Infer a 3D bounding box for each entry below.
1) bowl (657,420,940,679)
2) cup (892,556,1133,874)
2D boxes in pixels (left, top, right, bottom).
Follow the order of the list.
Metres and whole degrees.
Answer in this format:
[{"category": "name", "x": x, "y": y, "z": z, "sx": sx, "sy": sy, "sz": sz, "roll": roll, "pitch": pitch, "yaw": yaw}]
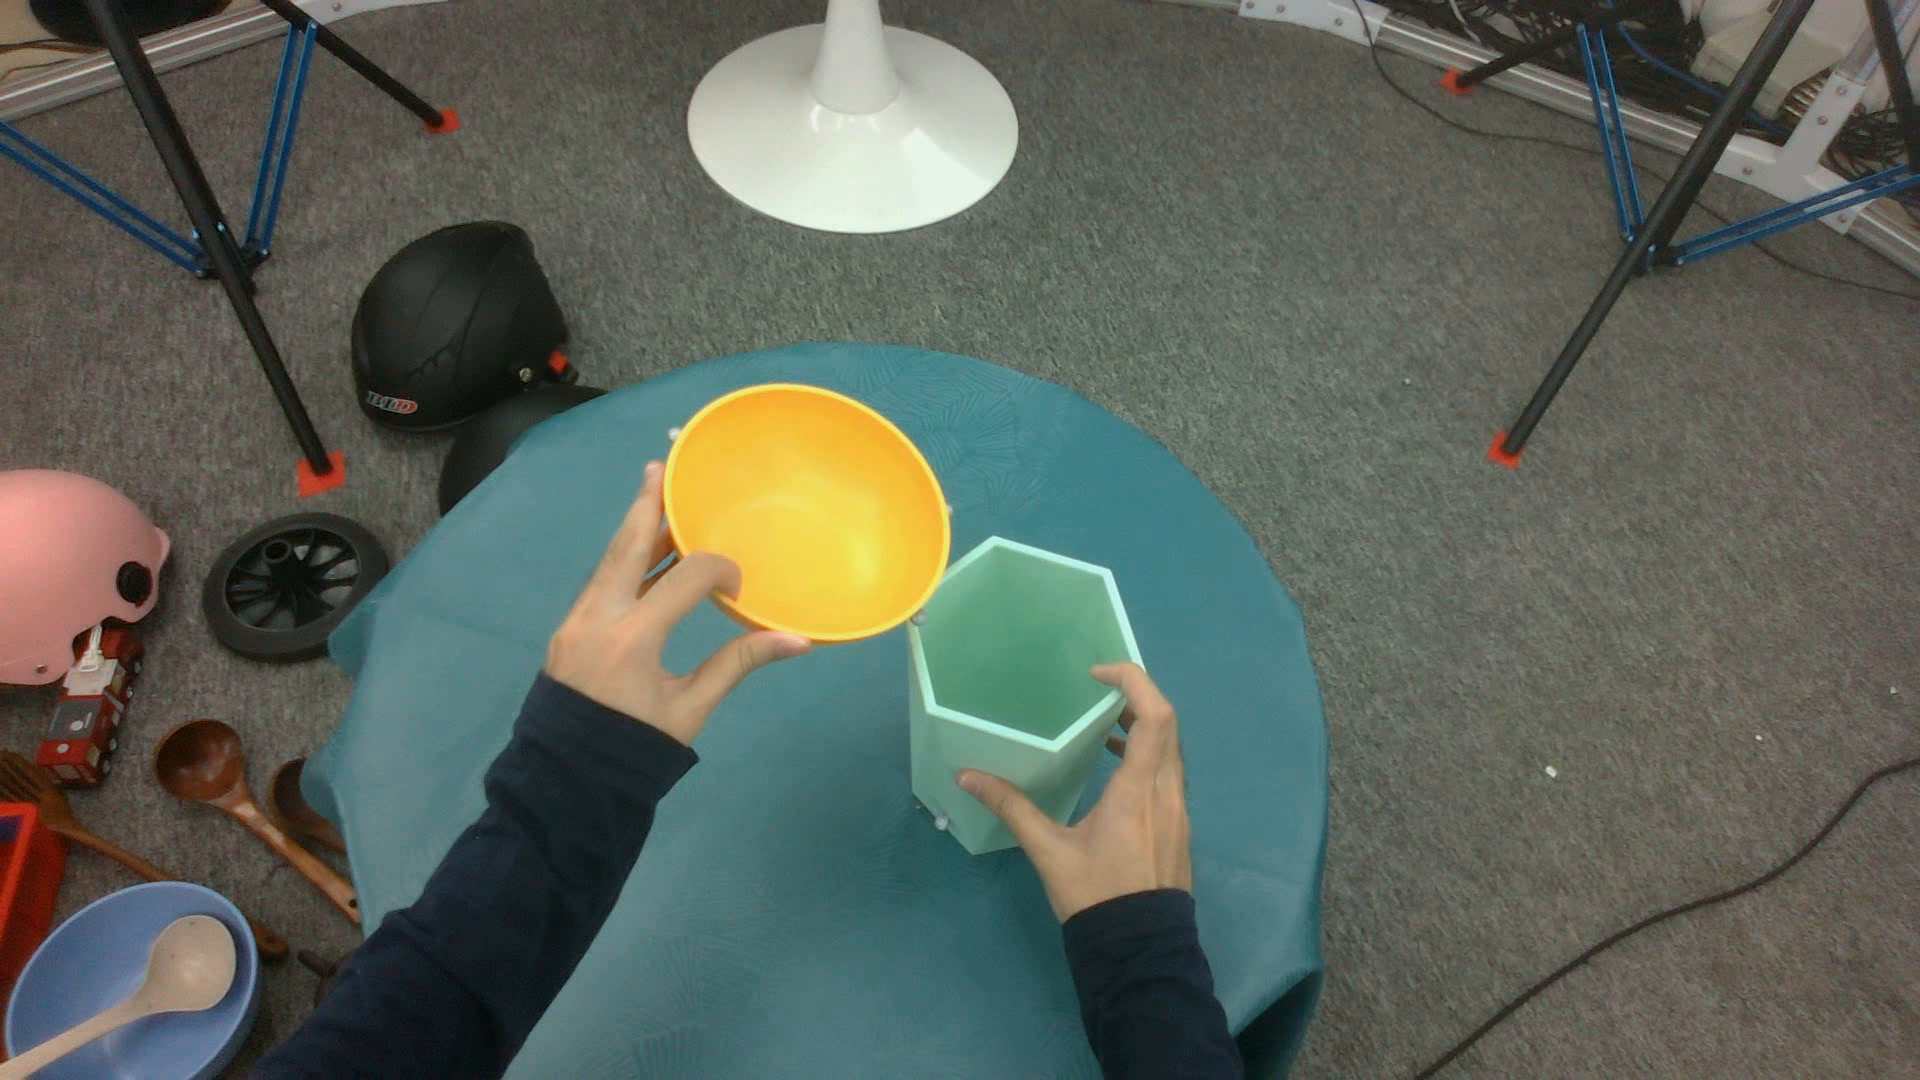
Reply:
[{"category": "bowl", "x": -0.087, "y": 0.014, "z": 0.708, "sx": 0.145, "sy": 0.060, "sz": 0.146, "roll": 11, "pitch": 57, "yaw": -17}, {"category": "cup", "x": 0.022, "y": 0.107, "z": 0.775, "sx": 0.131, "sy": 0.162, "sz": 0.116, "roll": 15, "pitch": 53, "yaw": 7}]
